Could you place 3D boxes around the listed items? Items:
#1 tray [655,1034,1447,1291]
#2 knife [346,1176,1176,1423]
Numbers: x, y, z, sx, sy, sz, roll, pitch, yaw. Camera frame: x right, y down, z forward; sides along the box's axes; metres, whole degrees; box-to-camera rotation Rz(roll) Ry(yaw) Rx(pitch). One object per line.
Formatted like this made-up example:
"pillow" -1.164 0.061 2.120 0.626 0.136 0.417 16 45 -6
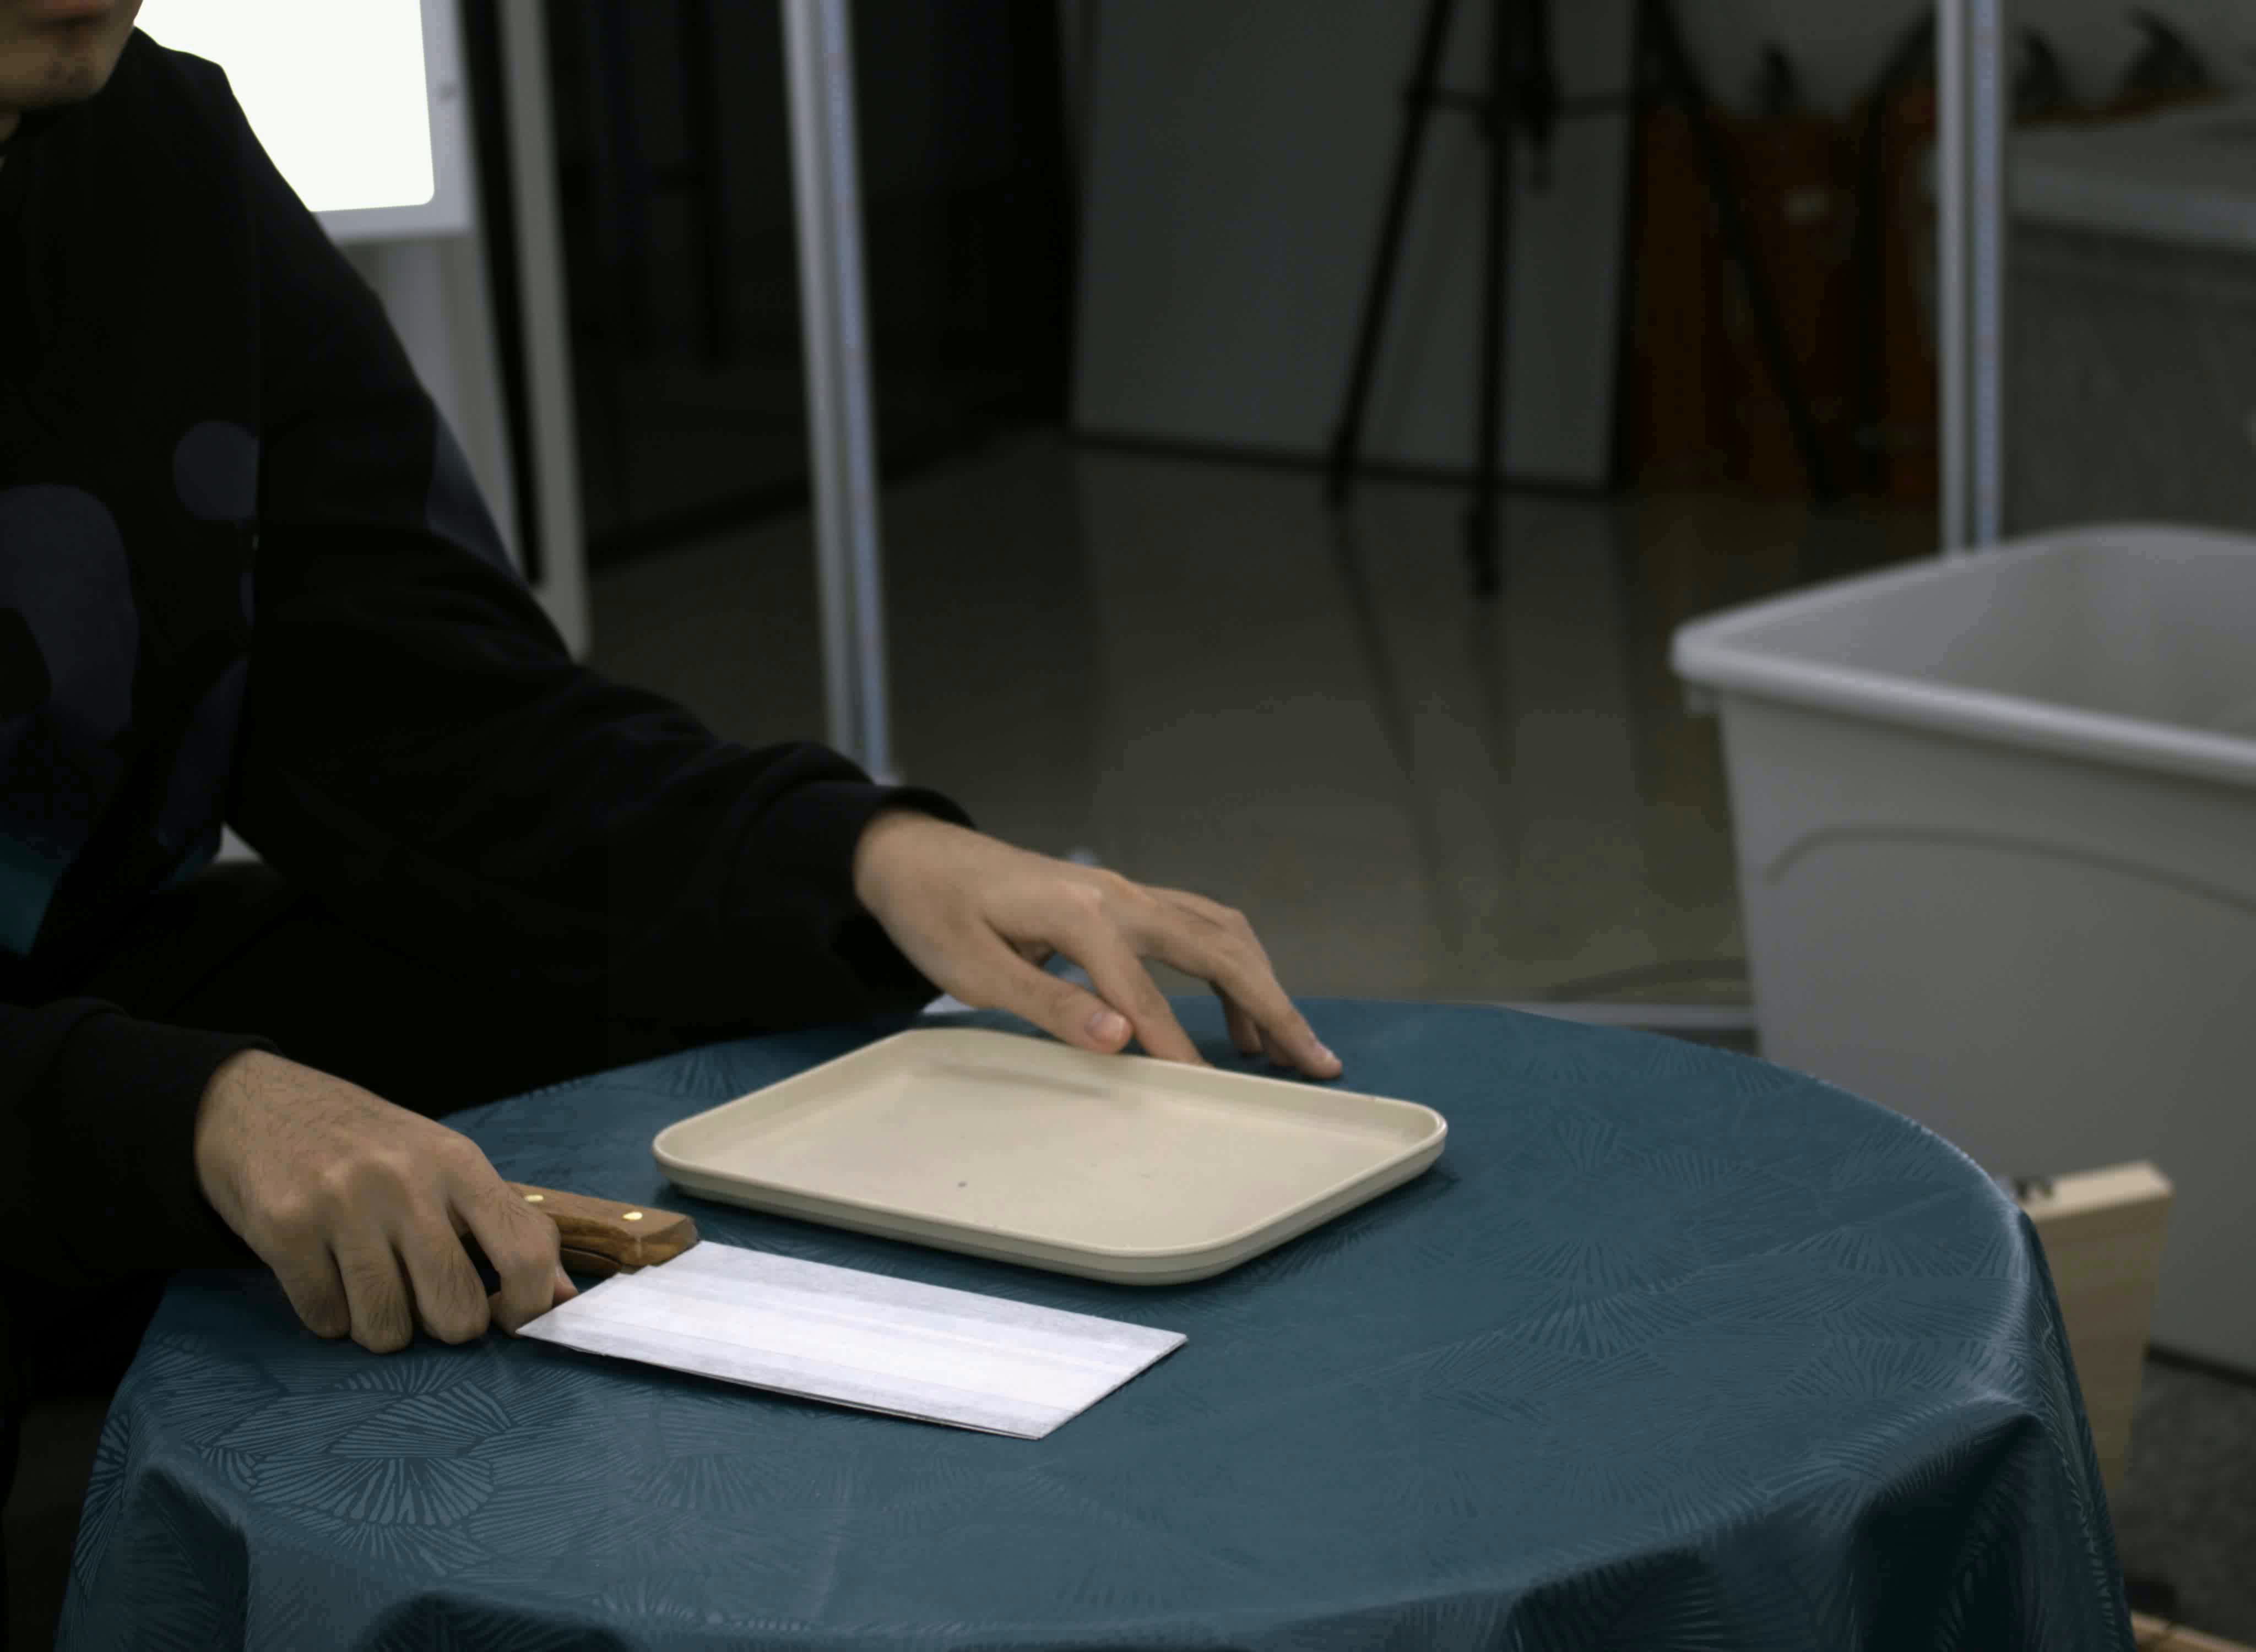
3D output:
"tray" -0.026 0.110 1.784 0.241 0.017 0.168 7 19 39
"knife" -0.131 0.148 1.667 0.307 0.021 0.091 7 19 32
